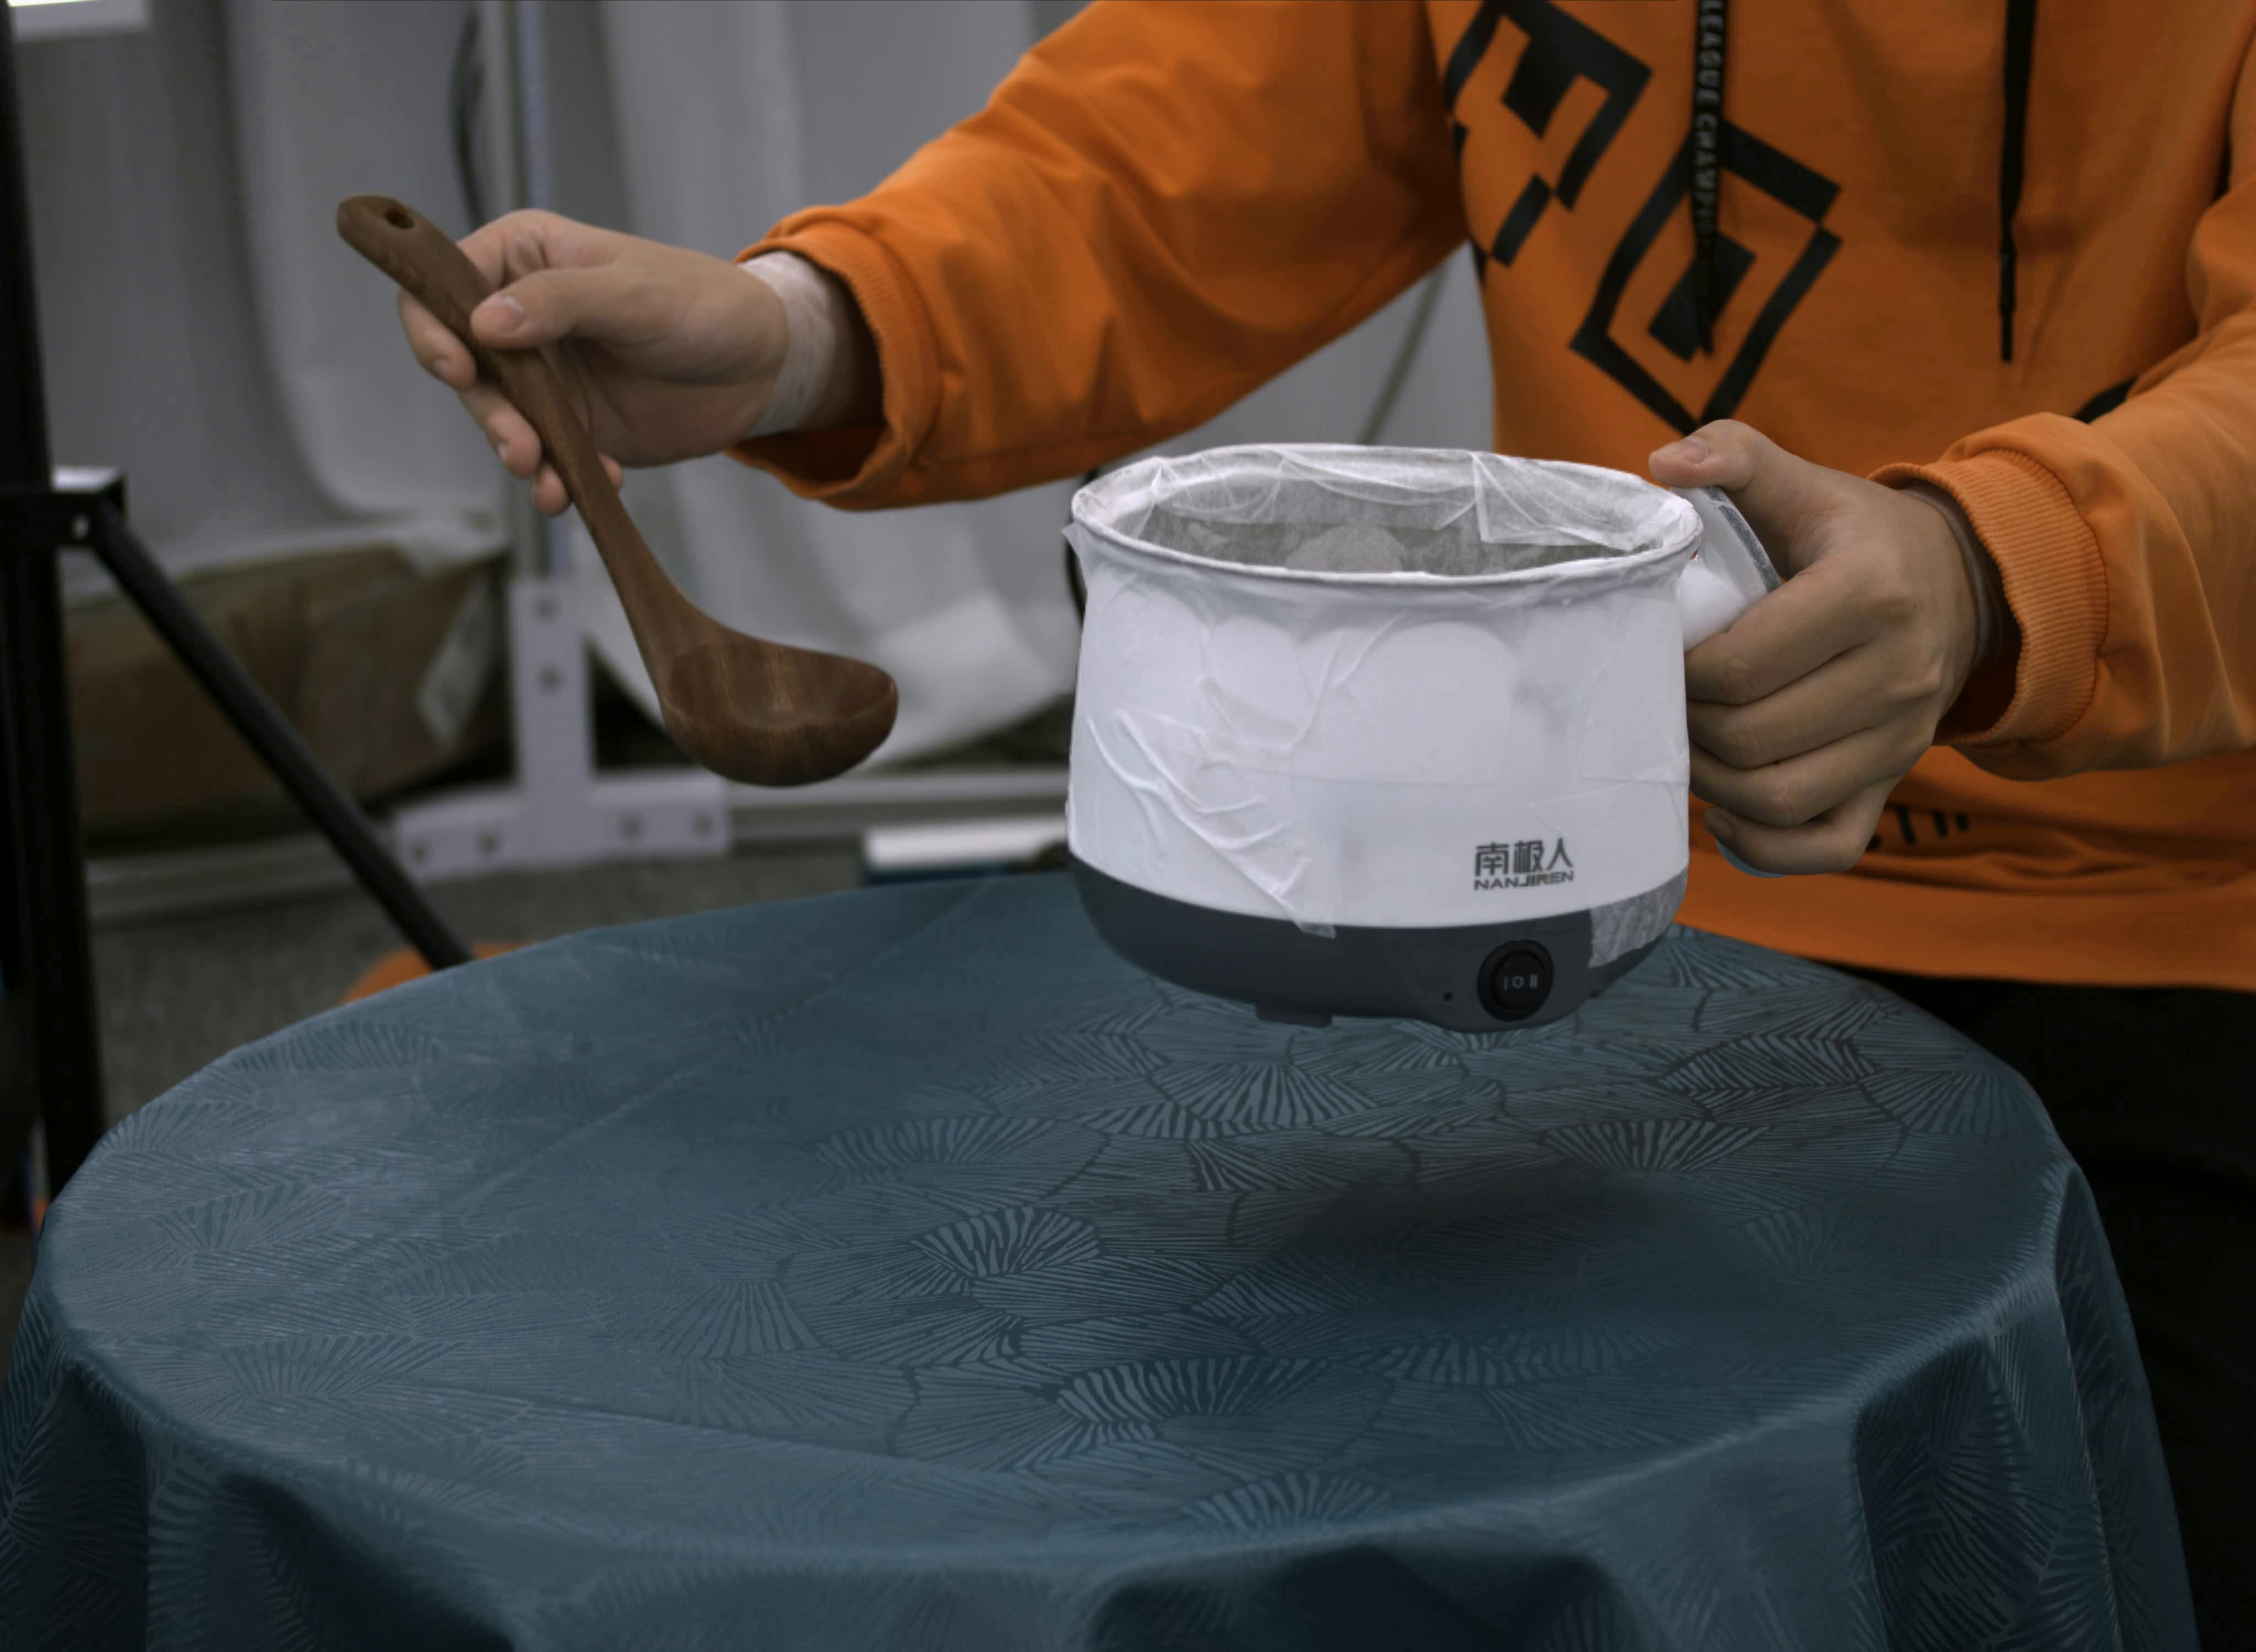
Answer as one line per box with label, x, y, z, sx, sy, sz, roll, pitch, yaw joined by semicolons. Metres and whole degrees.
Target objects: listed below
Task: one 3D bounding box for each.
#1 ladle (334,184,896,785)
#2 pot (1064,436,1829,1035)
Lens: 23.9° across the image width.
ladle;-0.165;-0.116;1.689;0.075;0.263;0.066;-17;-23;-50
pot;0.095;-0.031;1.508;0.229;0.137;0.182;-6;17;-24
